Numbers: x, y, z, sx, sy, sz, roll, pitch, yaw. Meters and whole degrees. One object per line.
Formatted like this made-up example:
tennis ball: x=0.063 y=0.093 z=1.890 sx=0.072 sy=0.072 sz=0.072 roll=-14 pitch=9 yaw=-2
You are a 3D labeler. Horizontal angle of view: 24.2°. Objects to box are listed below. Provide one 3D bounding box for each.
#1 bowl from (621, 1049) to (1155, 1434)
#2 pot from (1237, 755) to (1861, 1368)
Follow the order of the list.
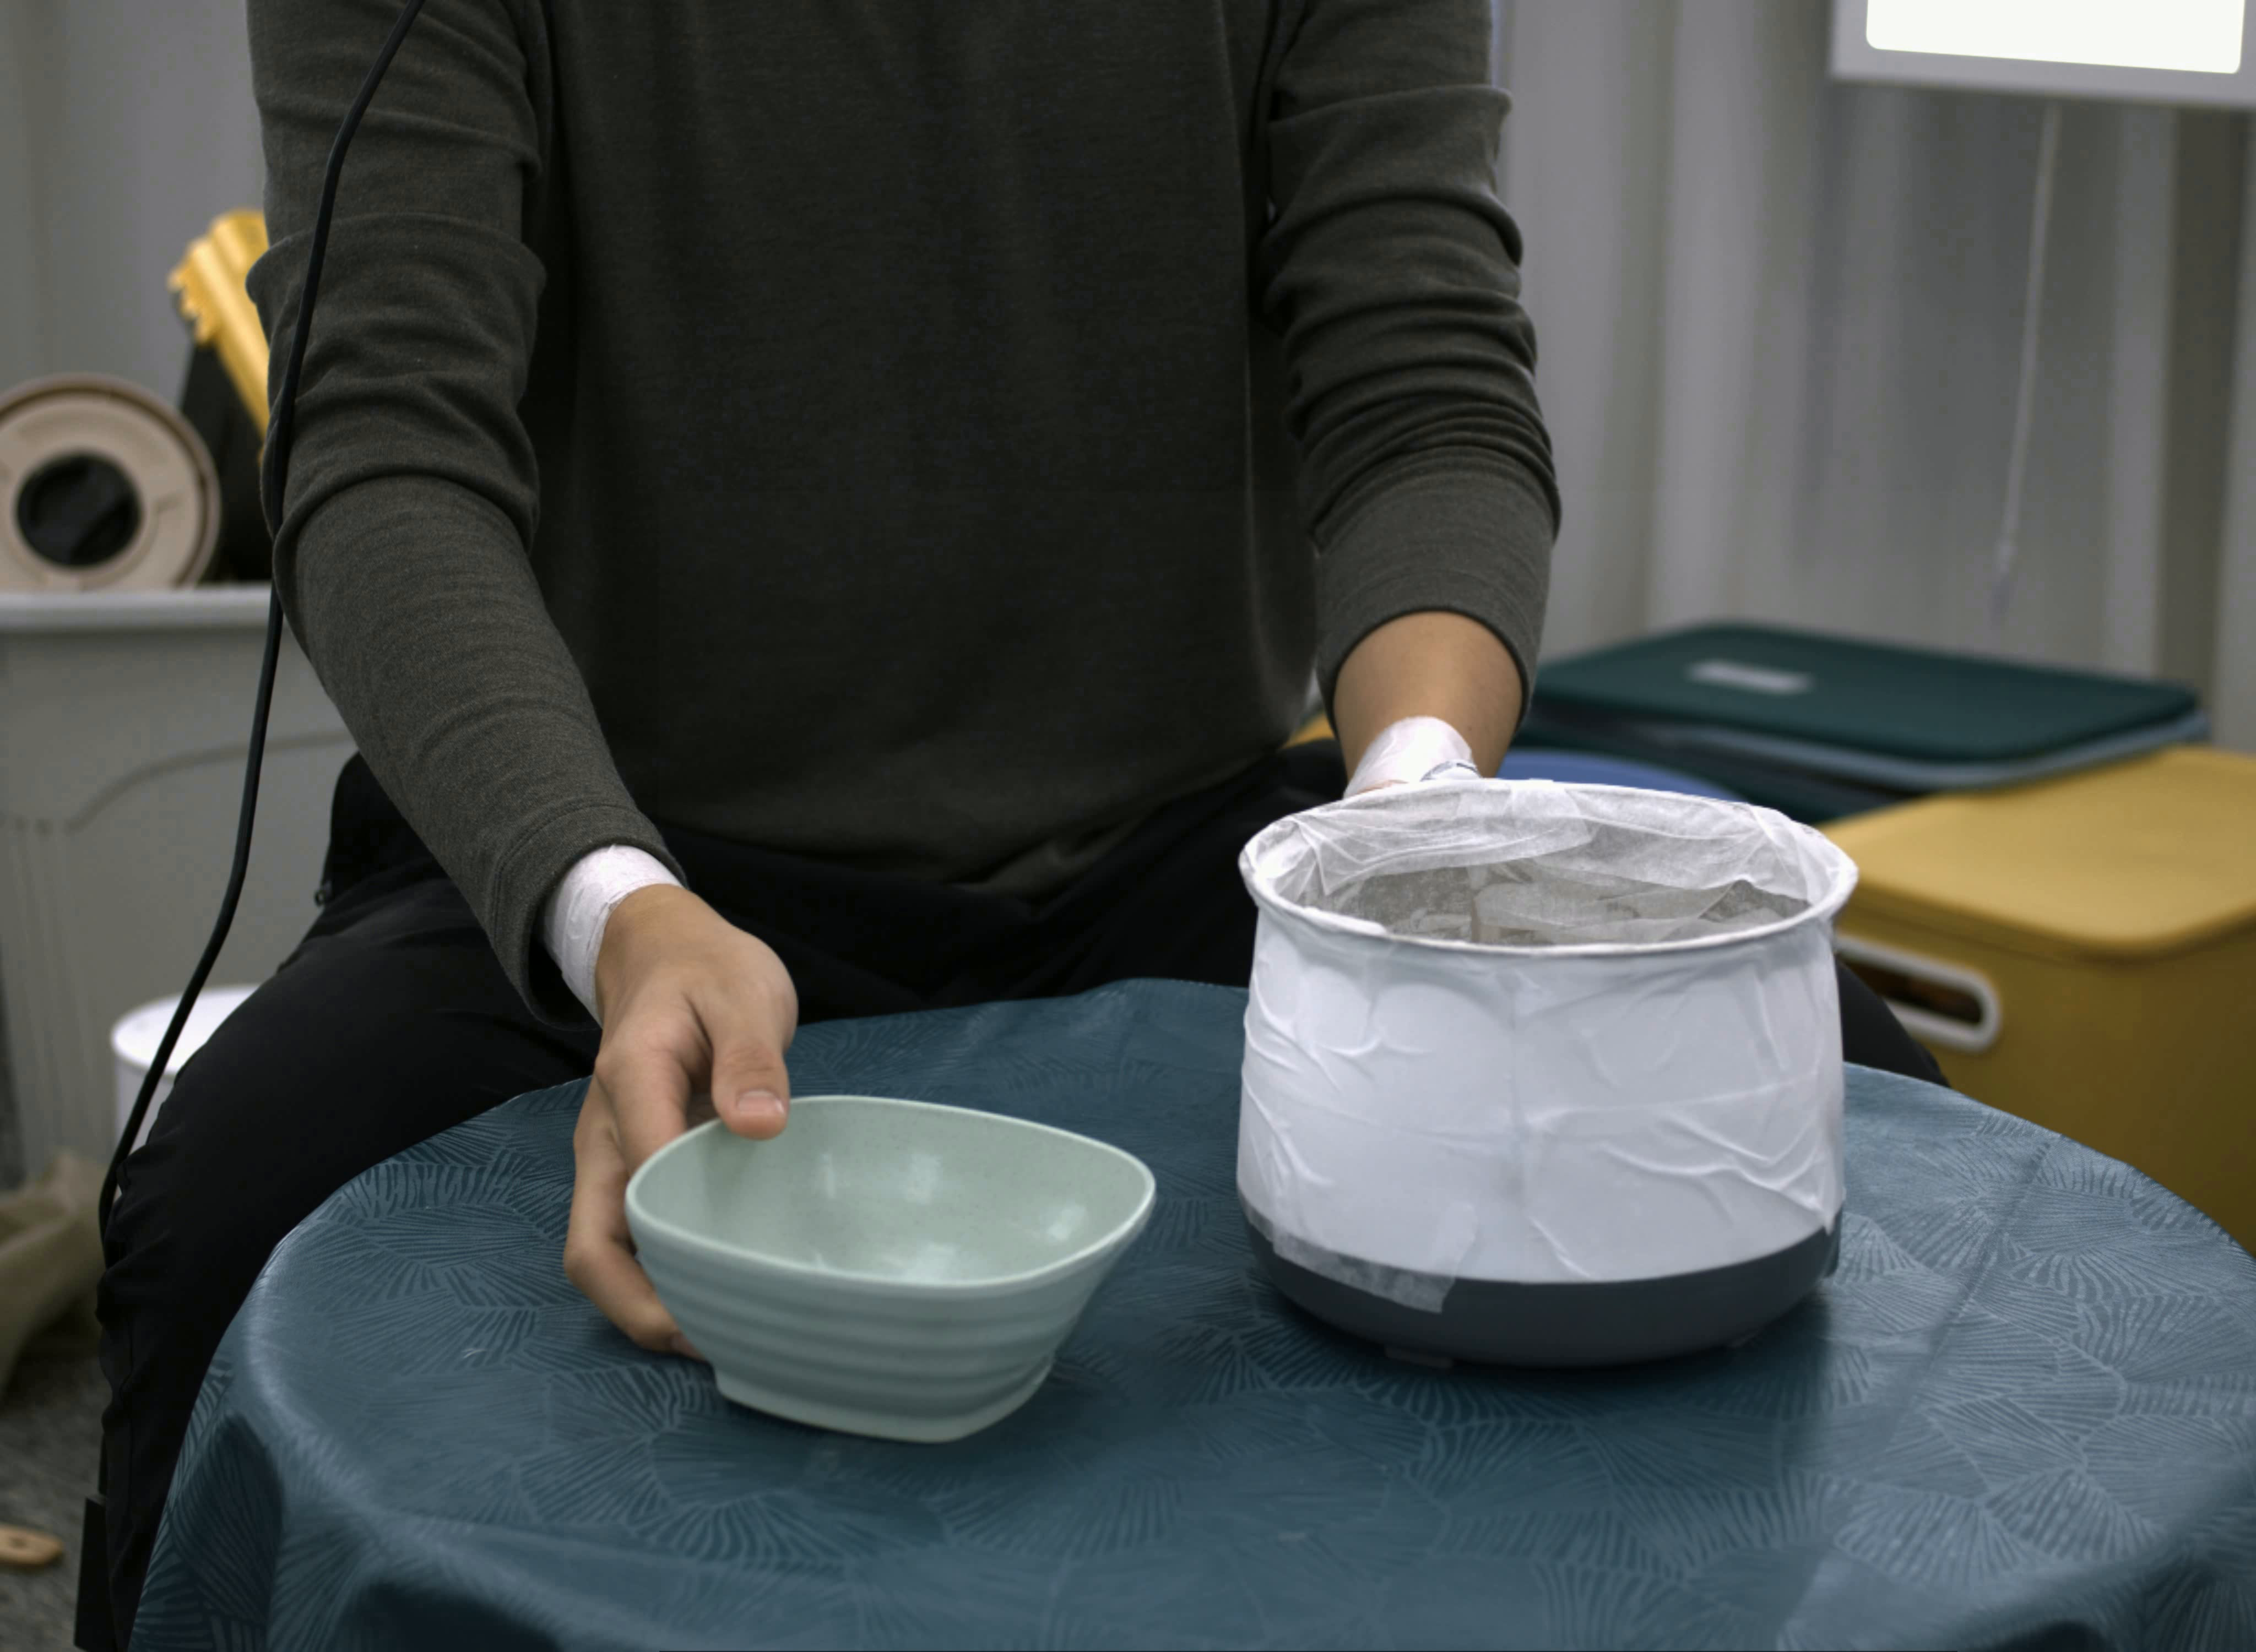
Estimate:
bowl: x=-0.068 y=0.120 z=1.458 sx=0.151 sy=0.059 sz=0.150 roll=7 pitch=22 yaw=-2
pot: x=0.114 y=0.063 z=1.548 sx=0.179 sy=0.138 sz=0.231 roll=-3 pitch=16 yaw=-13
